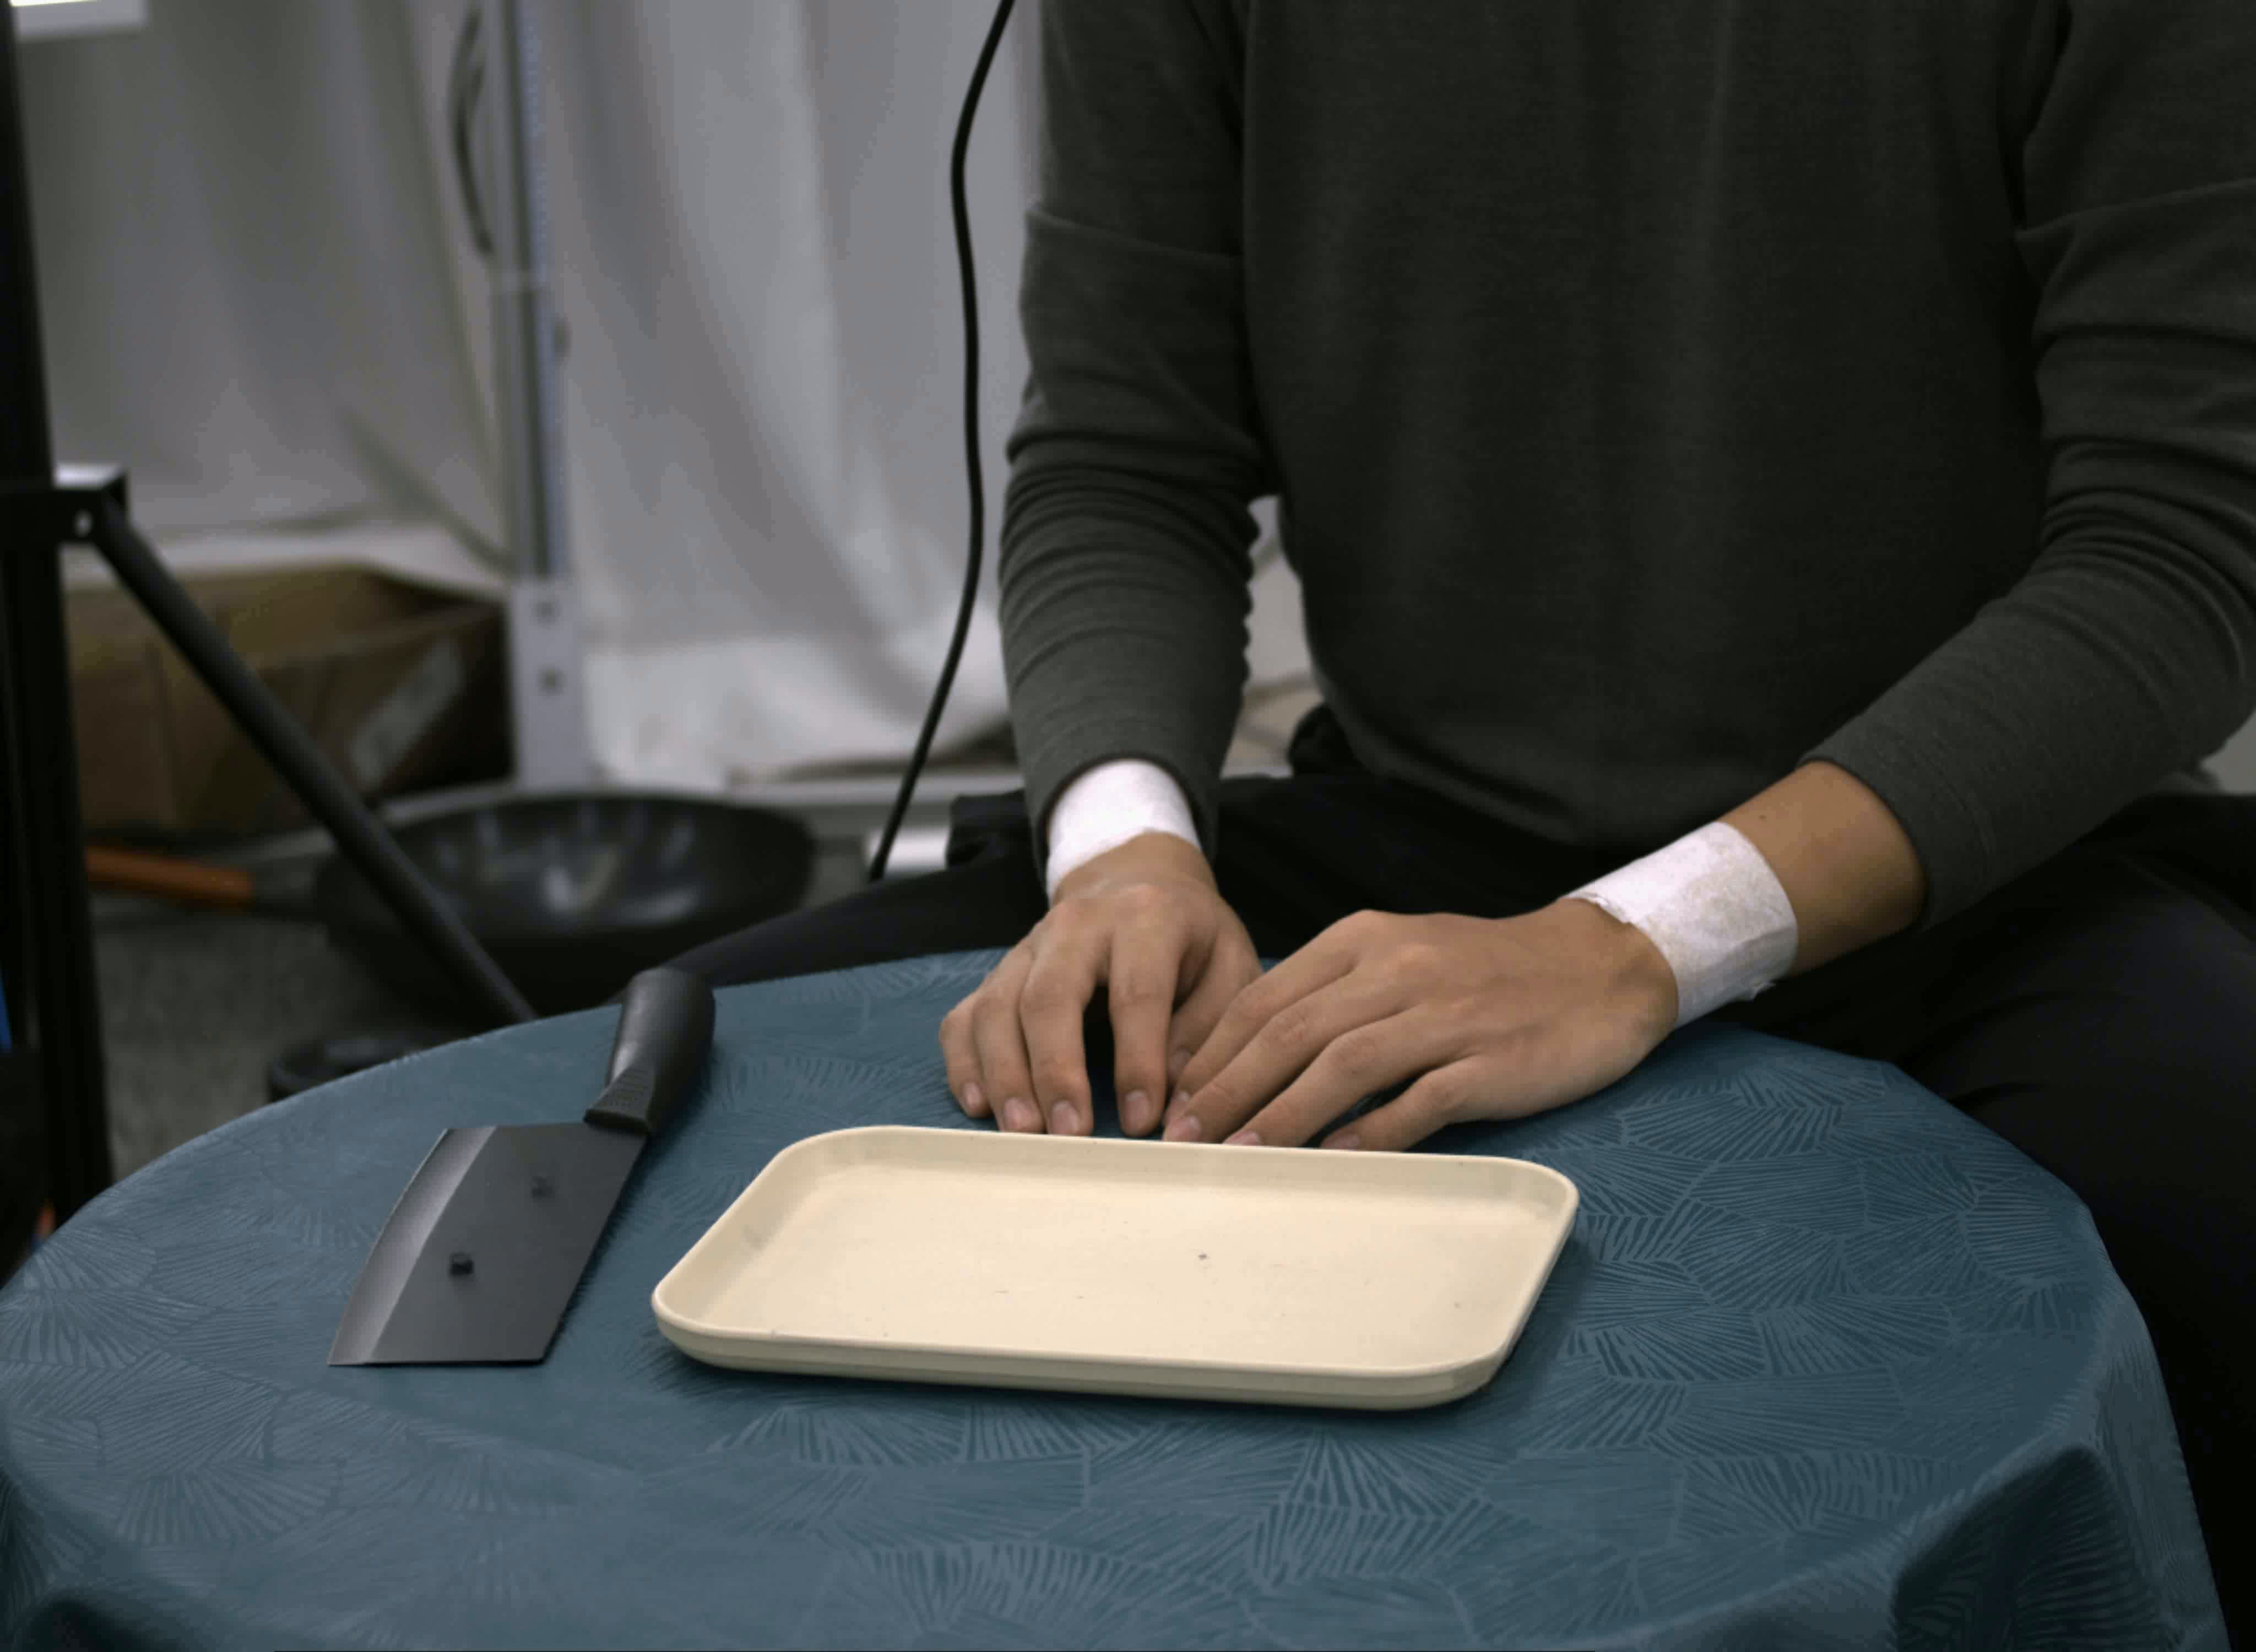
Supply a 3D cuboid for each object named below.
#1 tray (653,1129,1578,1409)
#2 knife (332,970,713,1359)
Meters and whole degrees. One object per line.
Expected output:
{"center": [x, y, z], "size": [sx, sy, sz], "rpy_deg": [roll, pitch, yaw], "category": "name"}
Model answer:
{"center": [-0.001, 0.123, 1.477], "size": [0.241, 0.017, 0.170], "rpy_deg": [2, 16, 16], "category": "tray"}
{"center": [-0.173, 0.100, 1.593], "size": [0.081, 0.021, 0.301], "rpy_deg": [-1, 17, 10], "category": "knife"}
